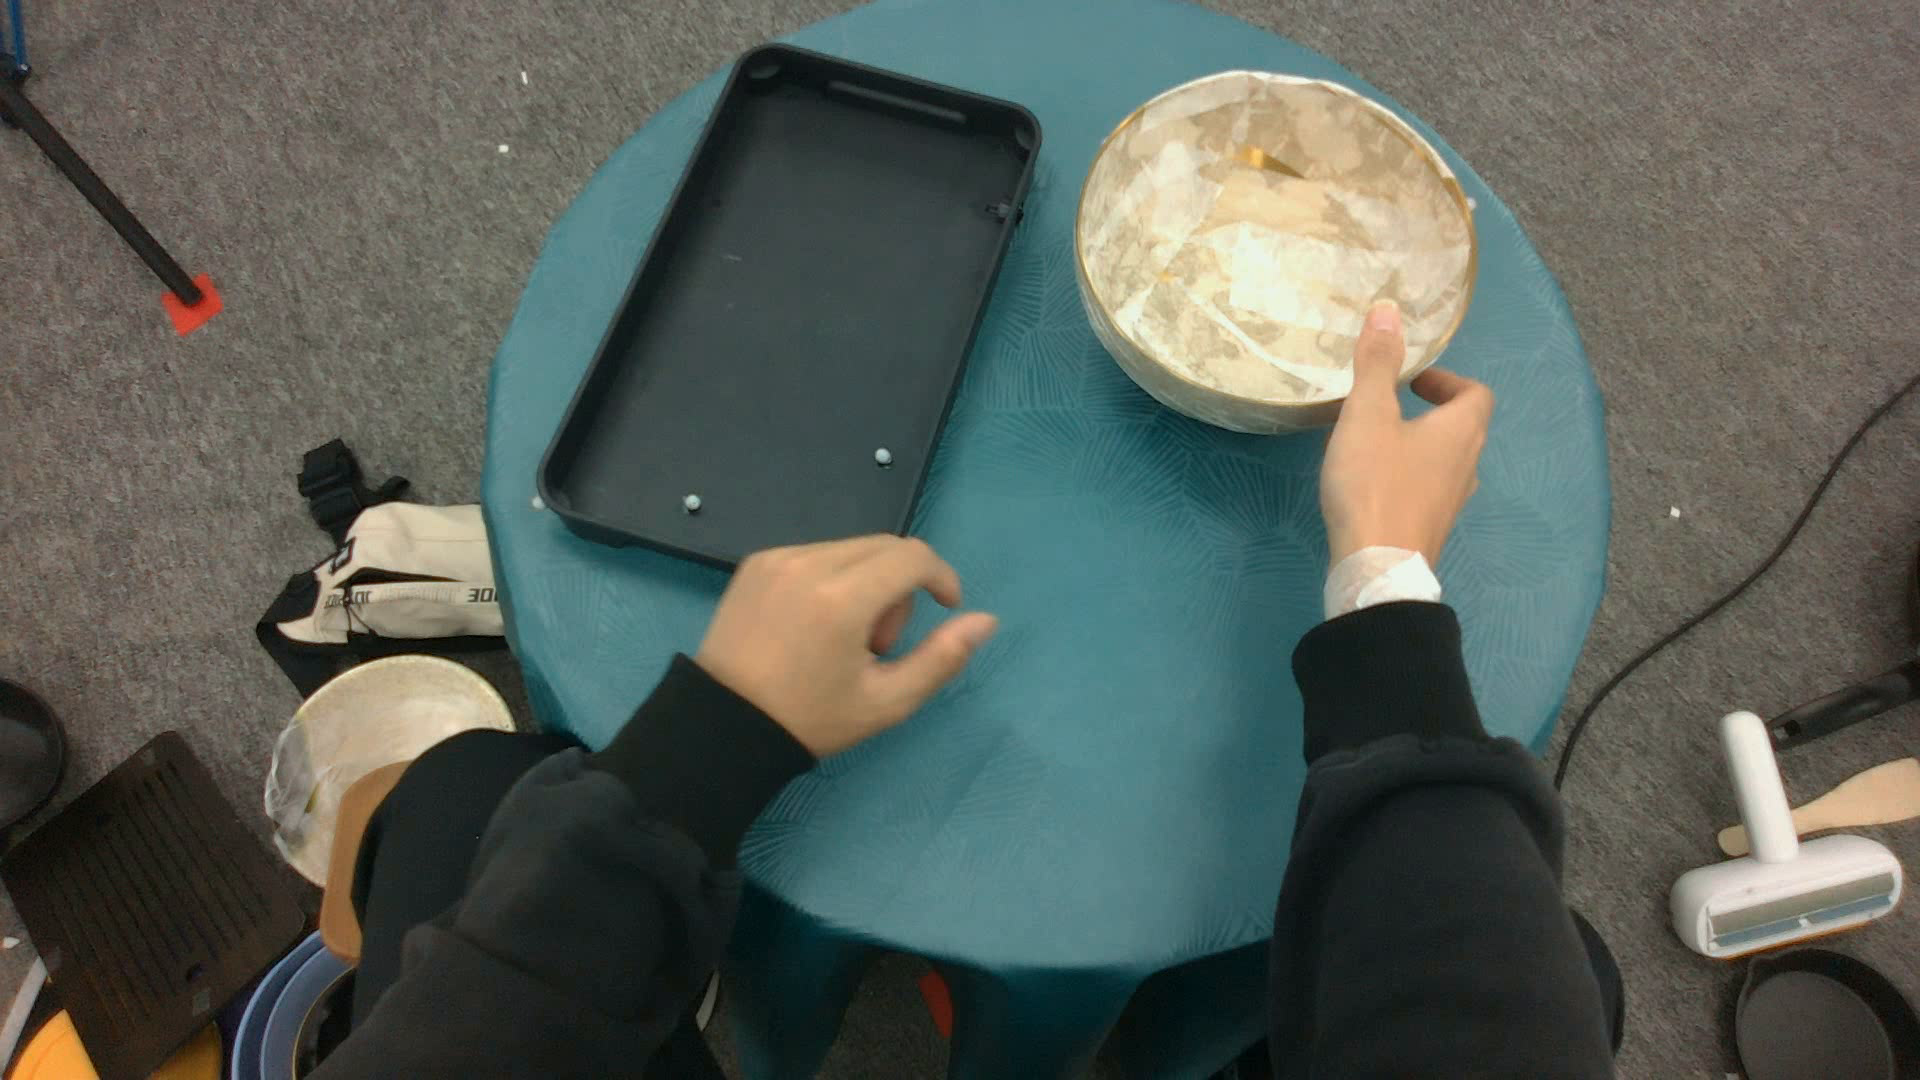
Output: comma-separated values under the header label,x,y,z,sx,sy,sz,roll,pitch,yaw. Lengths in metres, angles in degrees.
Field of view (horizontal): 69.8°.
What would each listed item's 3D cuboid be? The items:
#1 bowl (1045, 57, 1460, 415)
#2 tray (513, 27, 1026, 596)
label,x,y,z,sx,sy,sz,roll,pitch,yaw
bowl,0.141,-0.143,0.725,0.215,0.094,0.215,2,66,-3
tray,-0.092,-0.134,0.742,0.184,0.037,0.319,17,66,6
